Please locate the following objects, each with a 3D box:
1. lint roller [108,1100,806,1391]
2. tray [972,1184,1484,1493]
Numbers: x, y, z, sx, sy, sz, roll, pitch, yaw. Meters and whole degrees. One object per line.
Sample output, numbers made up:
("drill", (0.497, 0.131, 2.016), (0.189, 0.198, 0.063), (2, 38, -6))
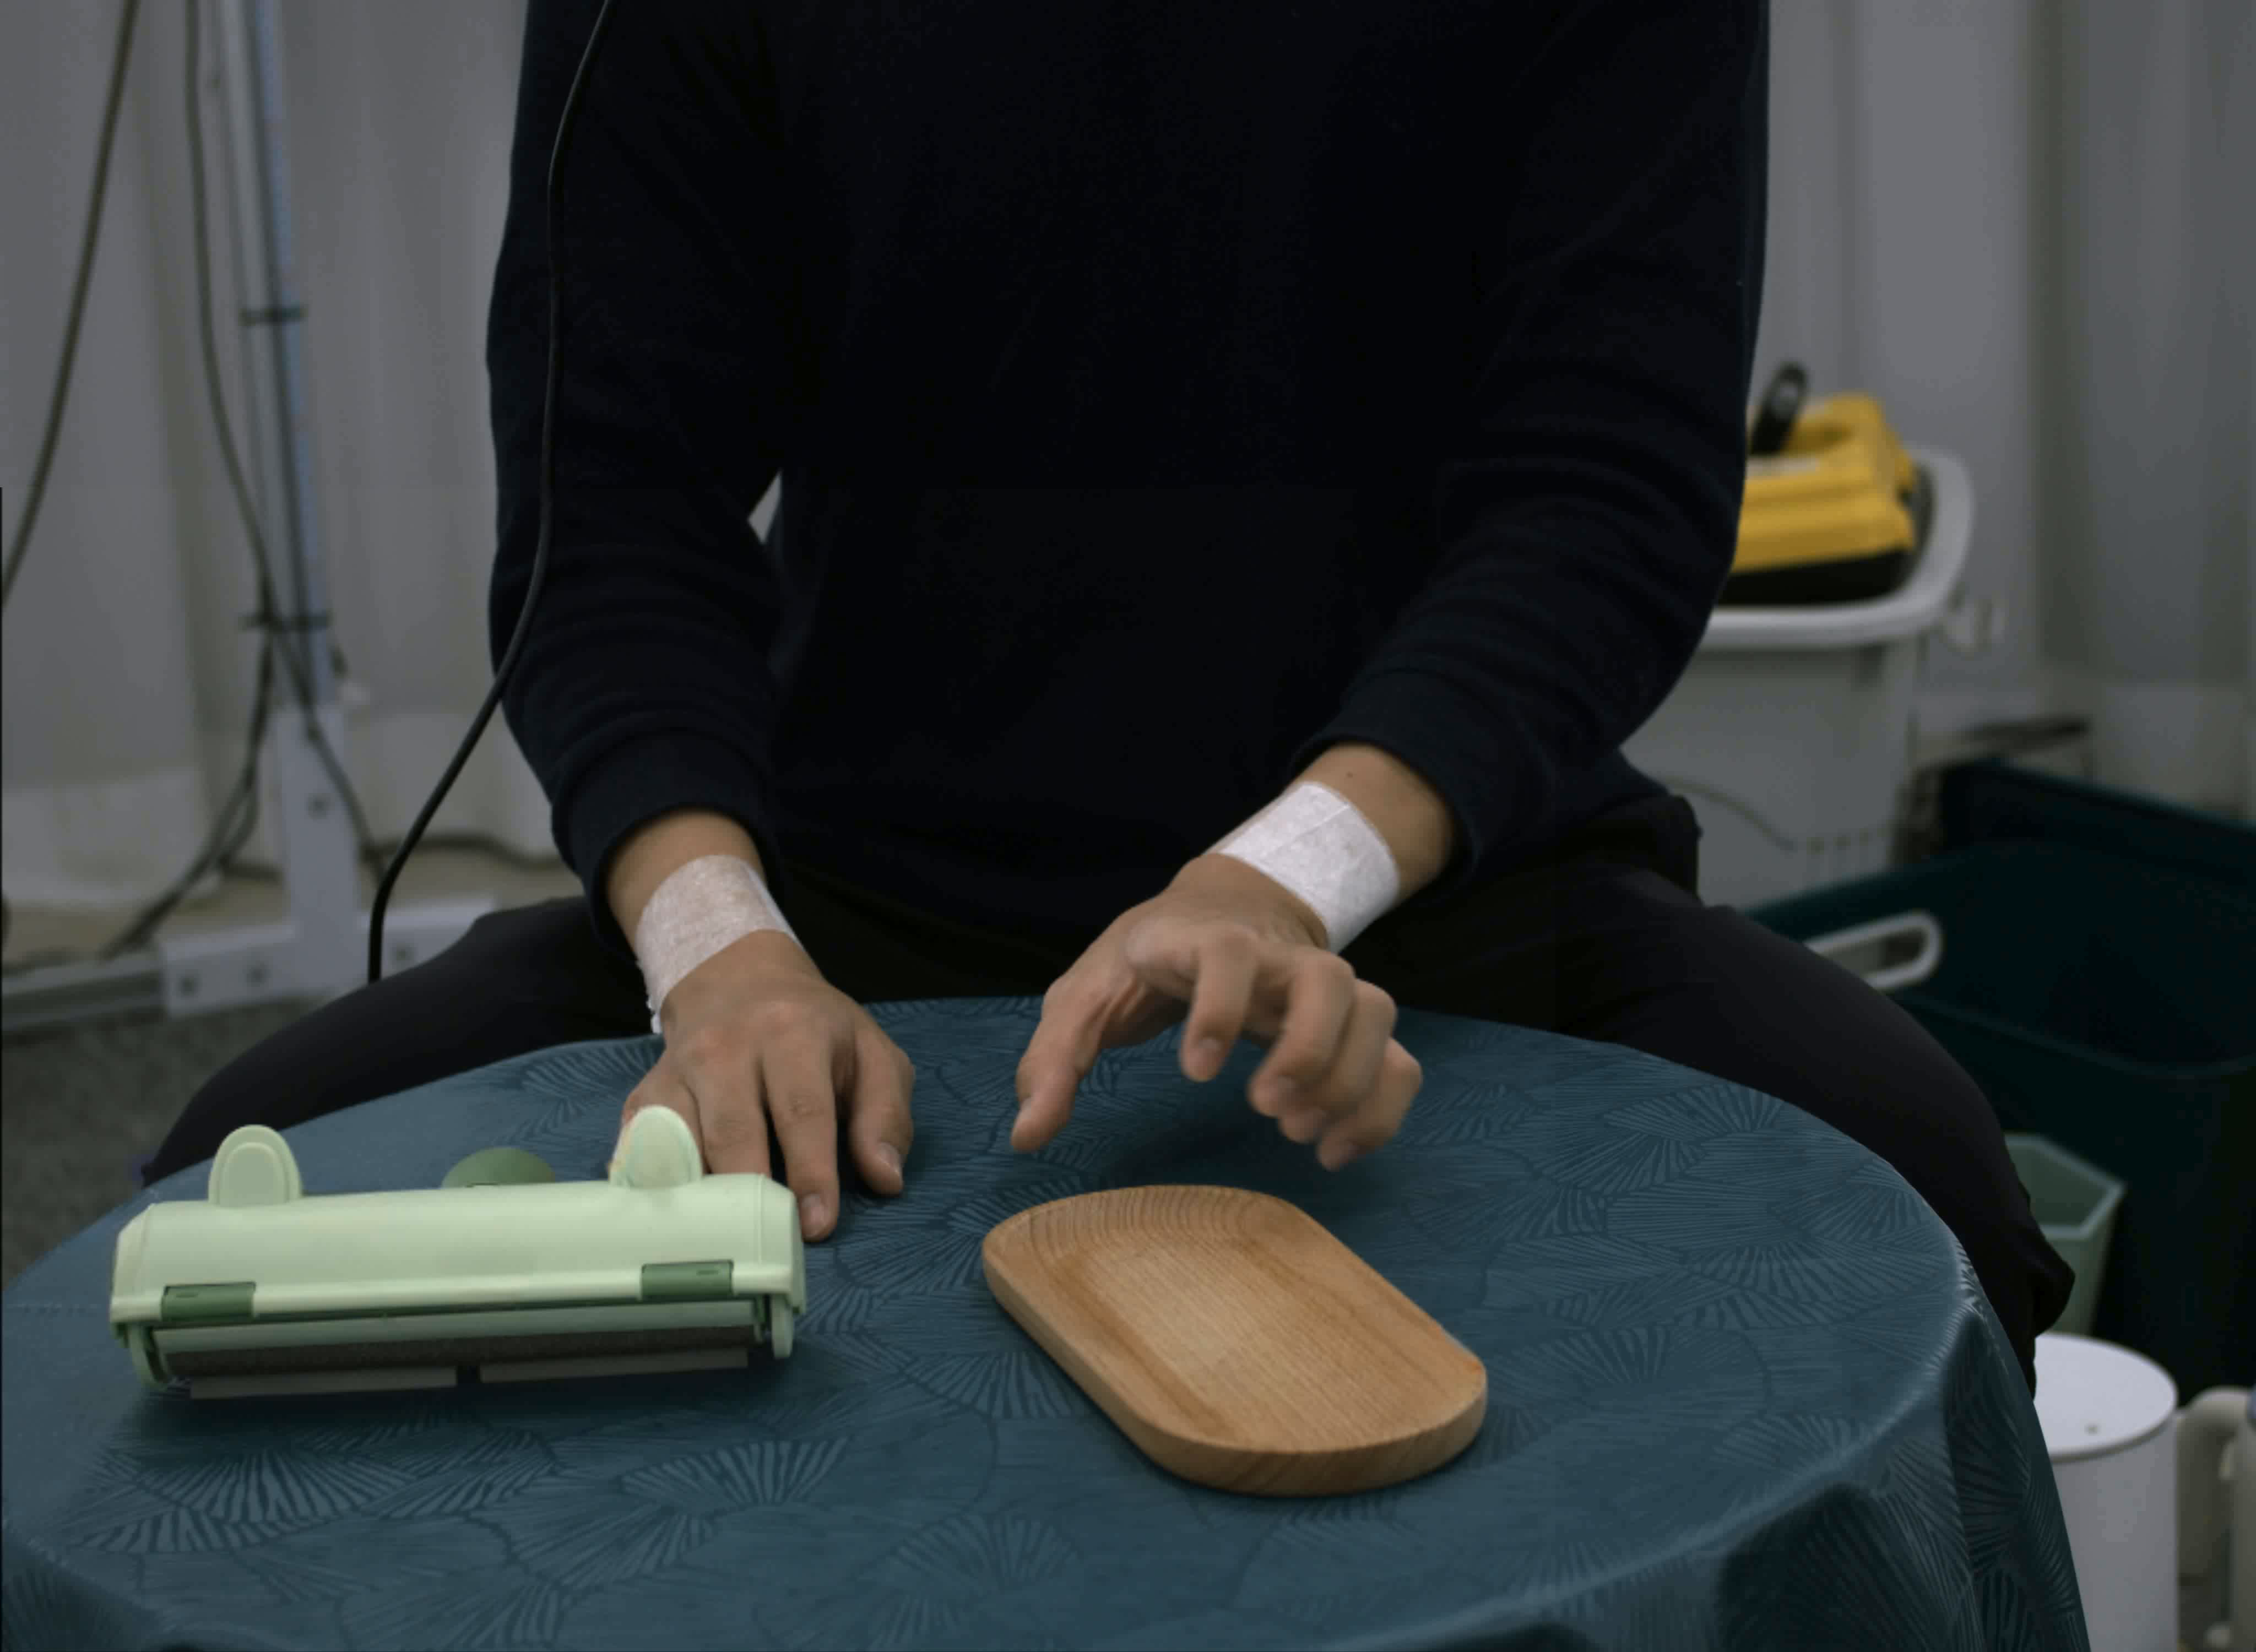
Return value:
("lint roller", (-0.194, 0.104, 1.626), (0.198, 0.081, 0.185), (-3, 20, -1))
("tray", (0.026, 0.145, 1.568), (0.101, 0.020, 0.233), (-7, 14, -18))
